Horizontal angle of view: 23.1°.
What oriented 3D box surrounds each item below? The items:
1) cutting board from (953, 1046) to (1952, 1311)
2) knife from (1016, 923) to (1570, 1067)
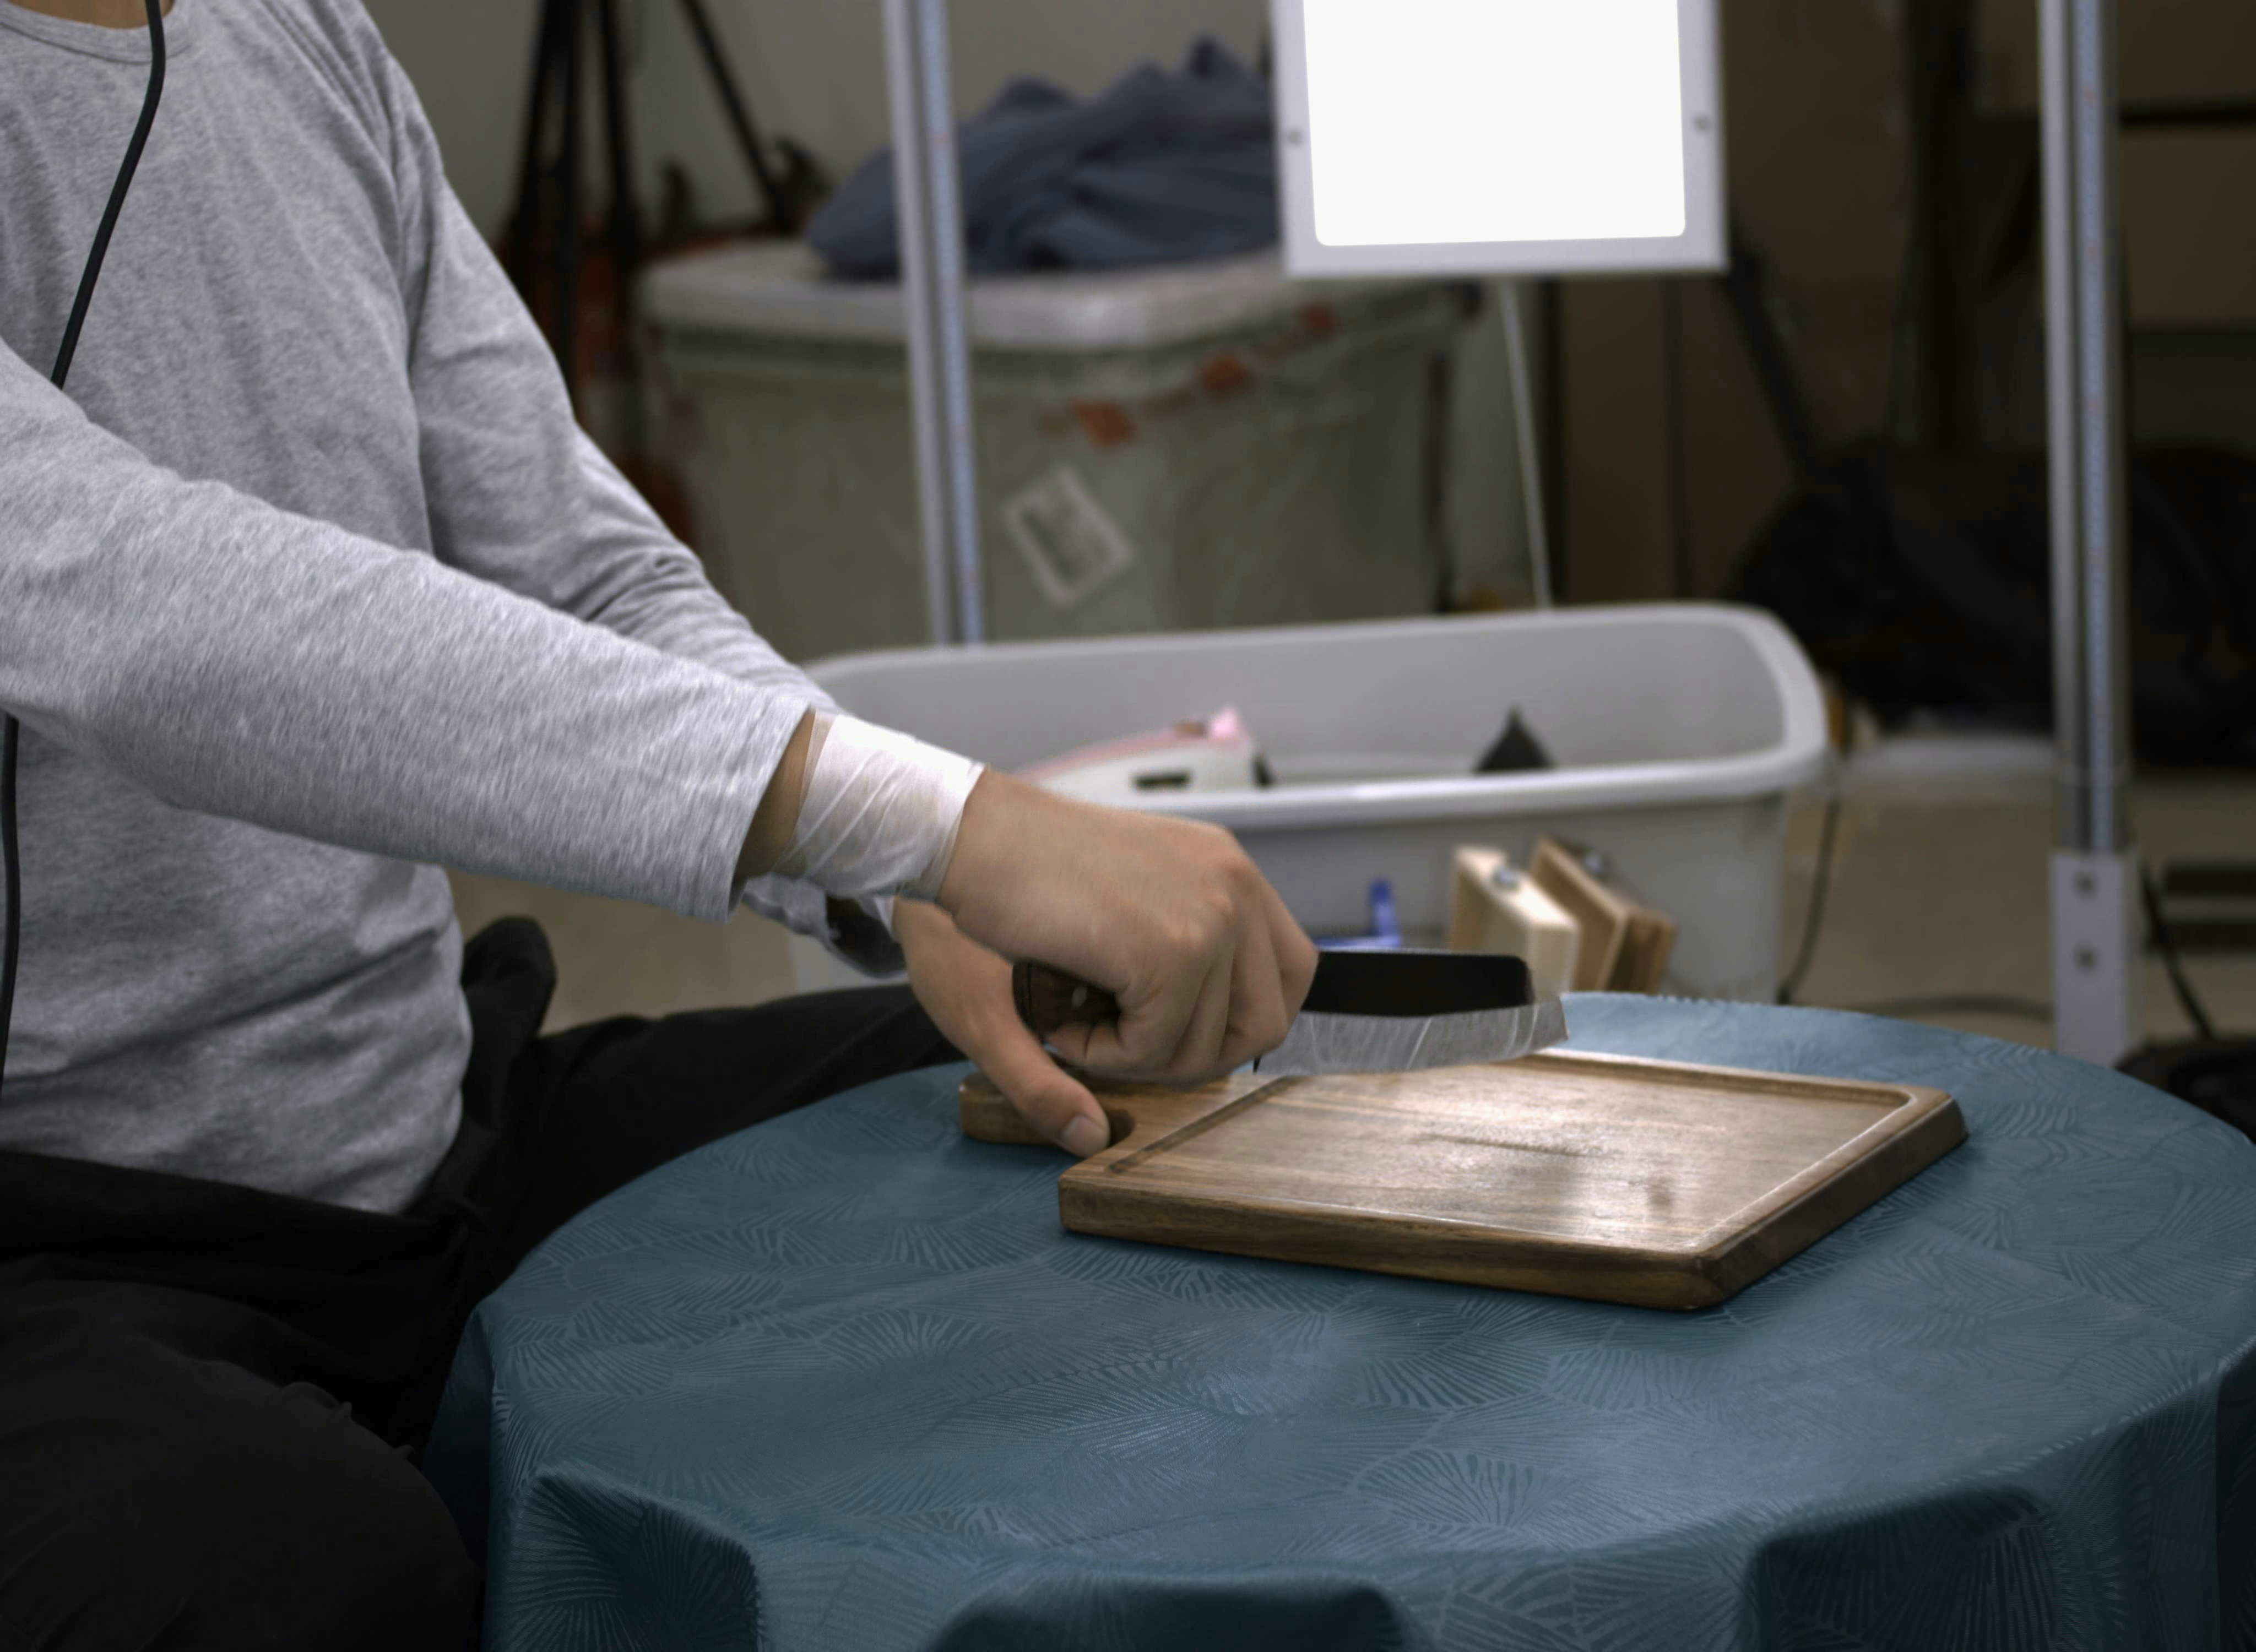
[{"bbox_3d":[0.089,0.110,1.896,0.359,0.023,0.196,5,16,35],"label":"cutting board"},{"bbox_3d":[0.062,0.055,1.794,0.020,0.050,0.282,25,12,40],"label":"knife"}]
